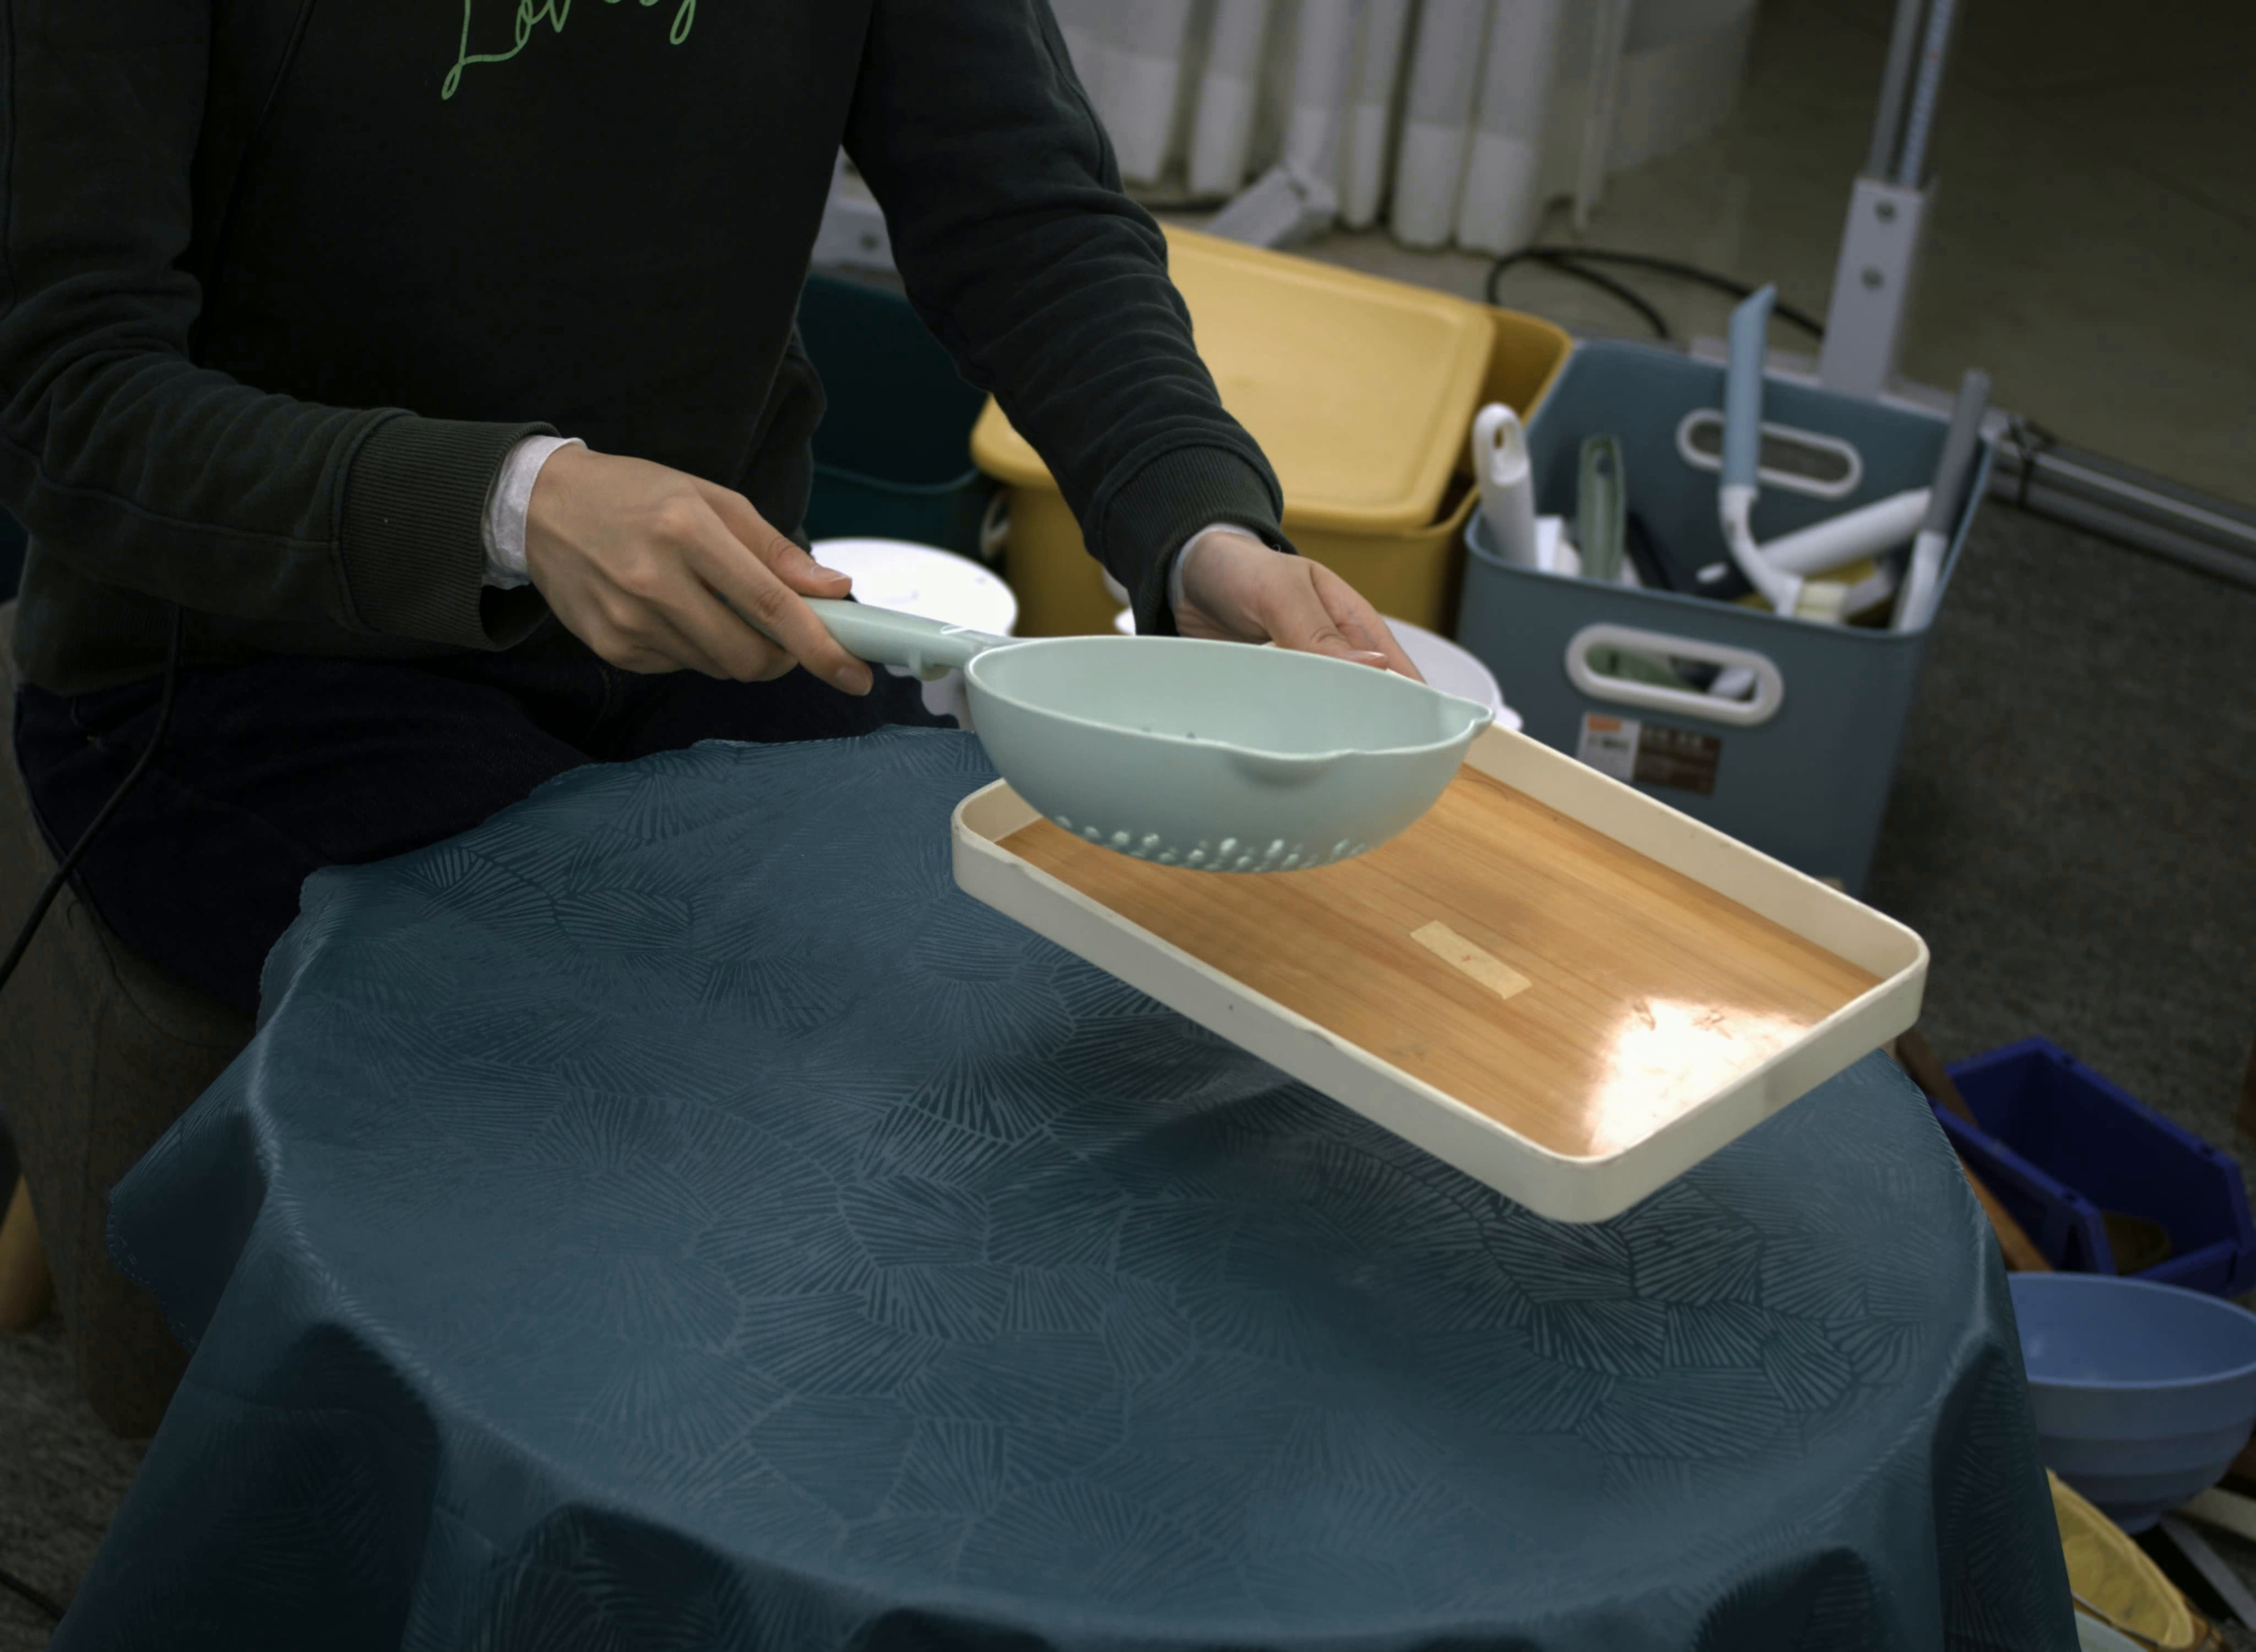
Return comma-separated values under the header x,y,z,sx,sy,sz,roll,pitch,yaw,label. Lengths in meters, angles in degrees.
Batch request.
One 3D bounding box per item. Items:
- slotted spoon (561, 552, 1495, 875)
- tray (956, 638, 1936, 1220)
x,y,z,sx,sy,sz,roll,pitch,yaw,label
-0.051,-0.052,1.807,0.361,0.075,0.168,23,18,30,slotted spoon
0.105,0.029,1.813,0.191,0.027,0.302,-27,41,-37,tray
